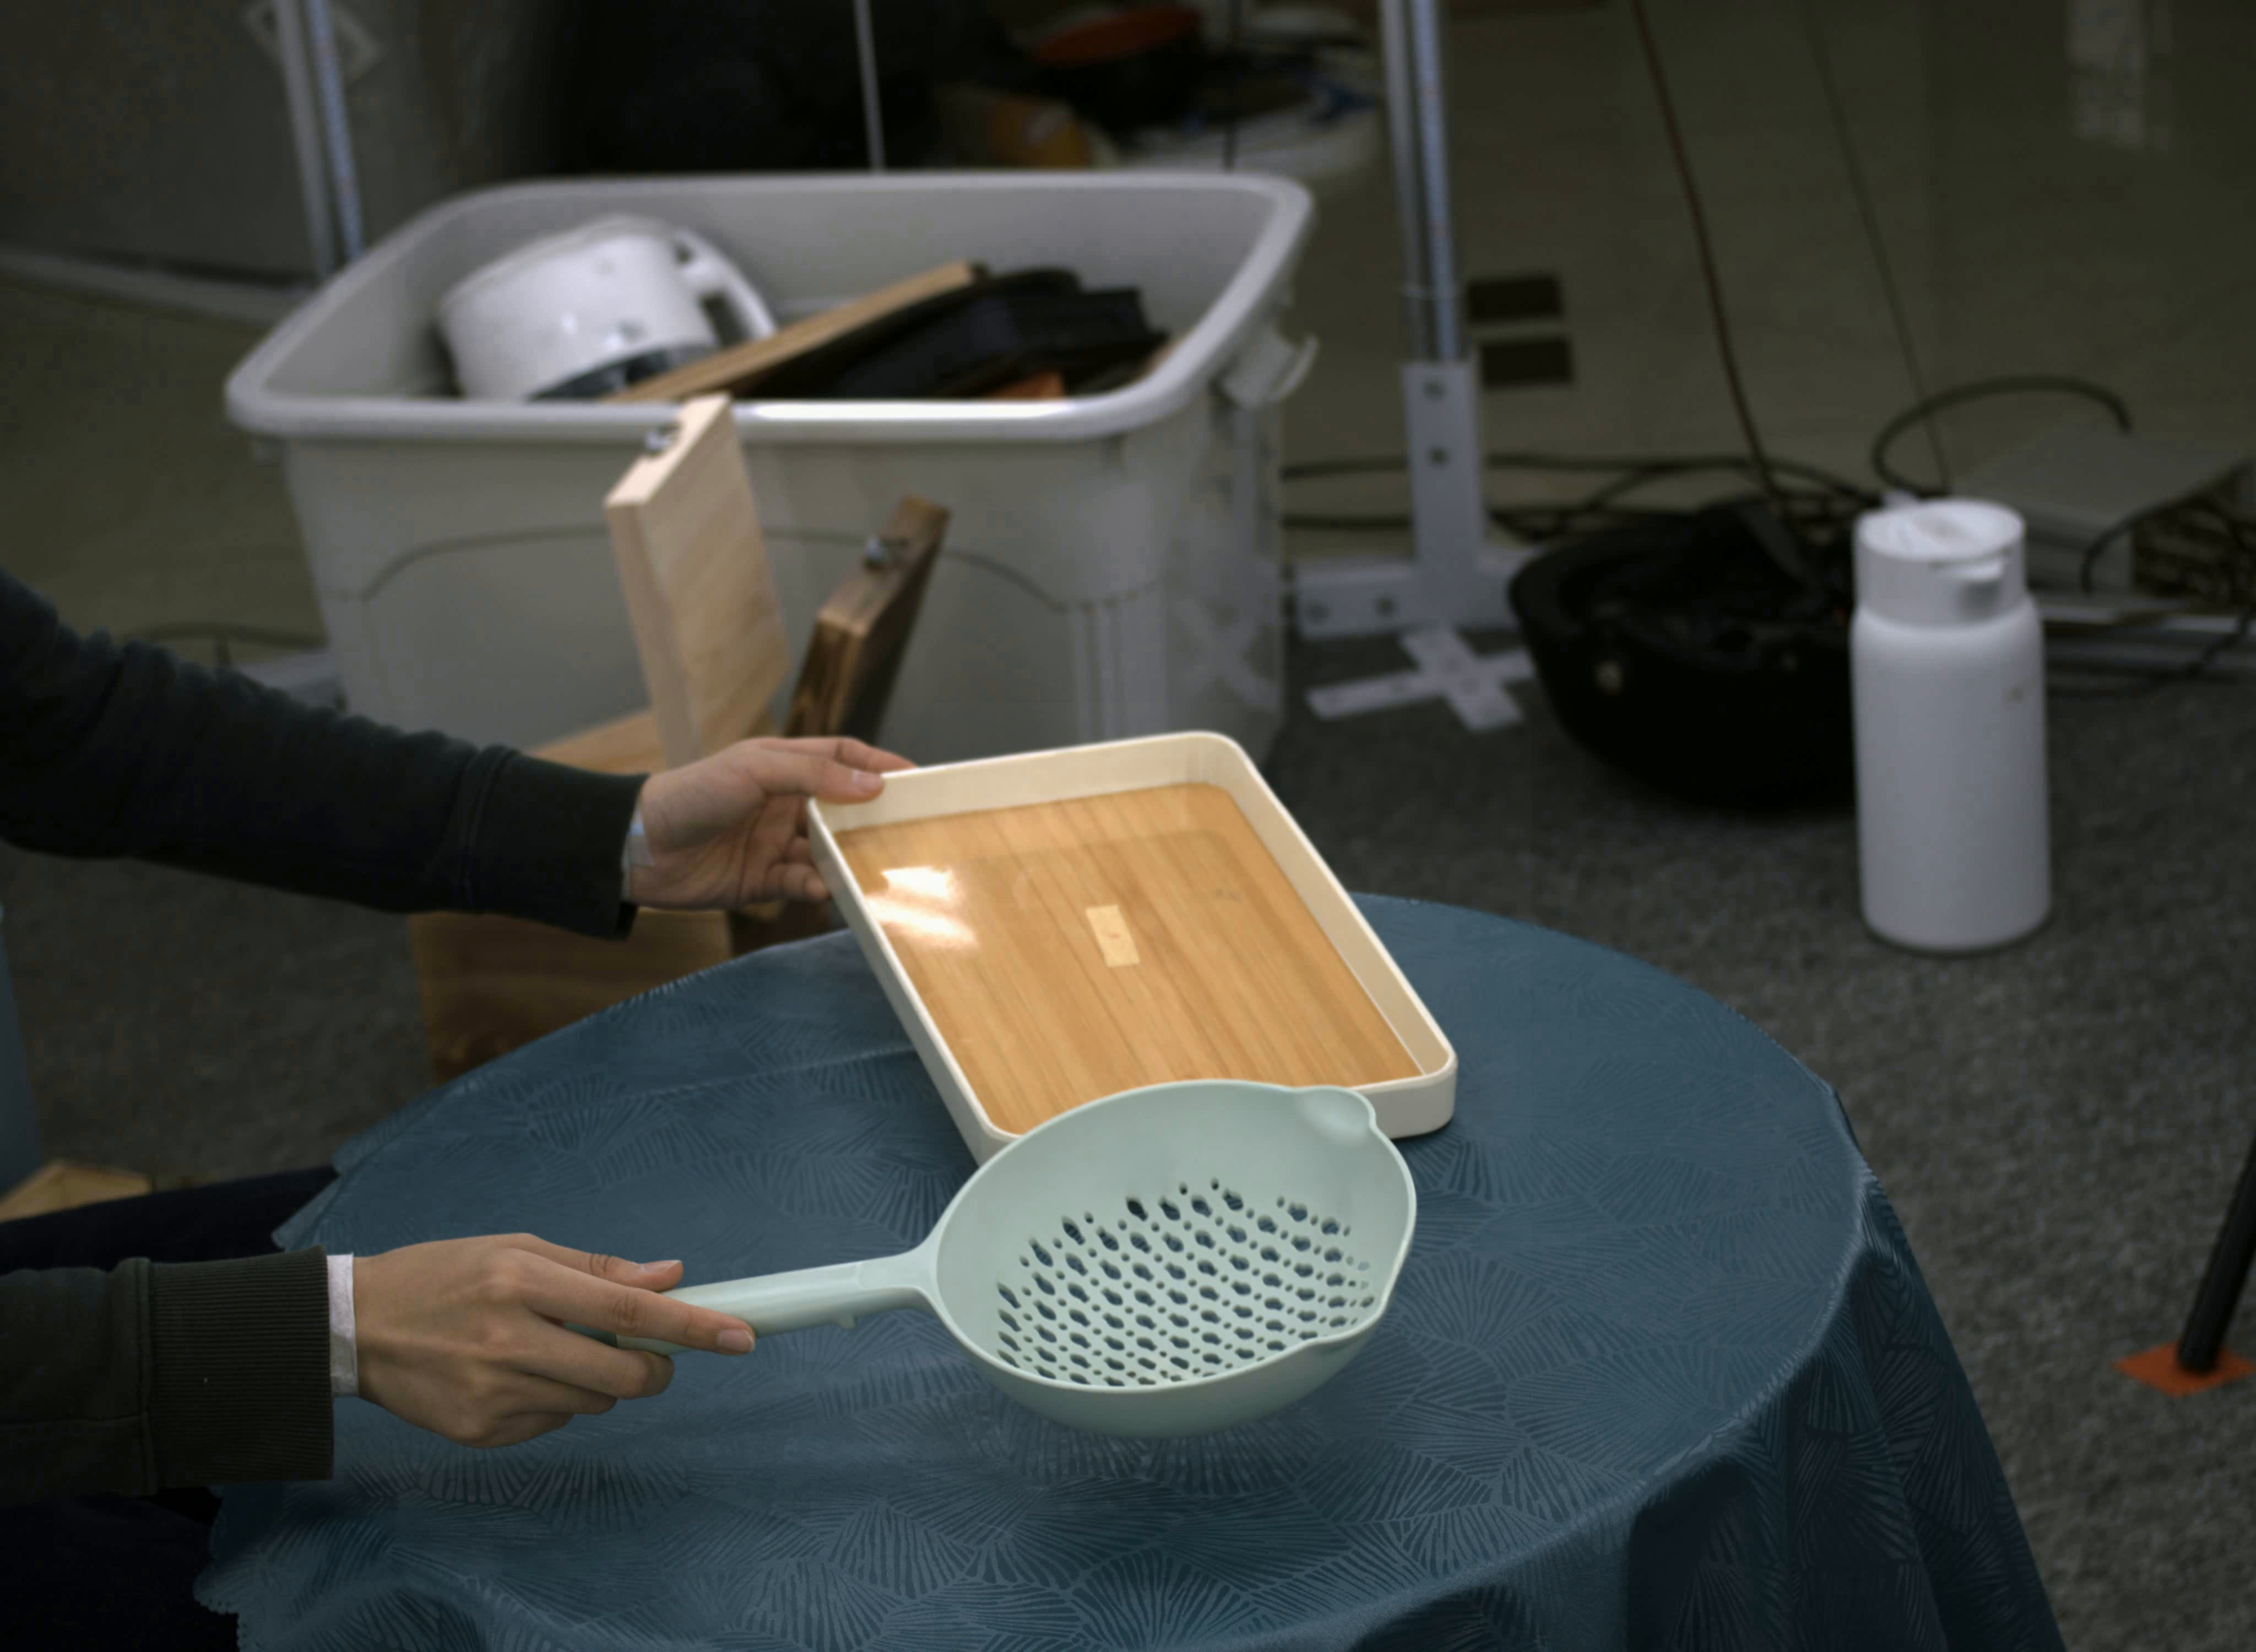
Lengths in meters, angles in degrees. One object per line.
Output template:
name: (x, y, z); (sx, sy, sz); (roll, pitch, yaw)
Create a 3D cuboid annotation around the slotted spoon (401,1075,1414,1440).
slotted spoon: (-0.079, 0.164, 1.978); (0.358, 0.077, 0.166); (-2, 35, 1)

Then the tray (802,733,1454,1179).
tray: (-0.005, 0.050, 2.260); (0.191, 0.028, 0.296); (-8, 30, -15)
